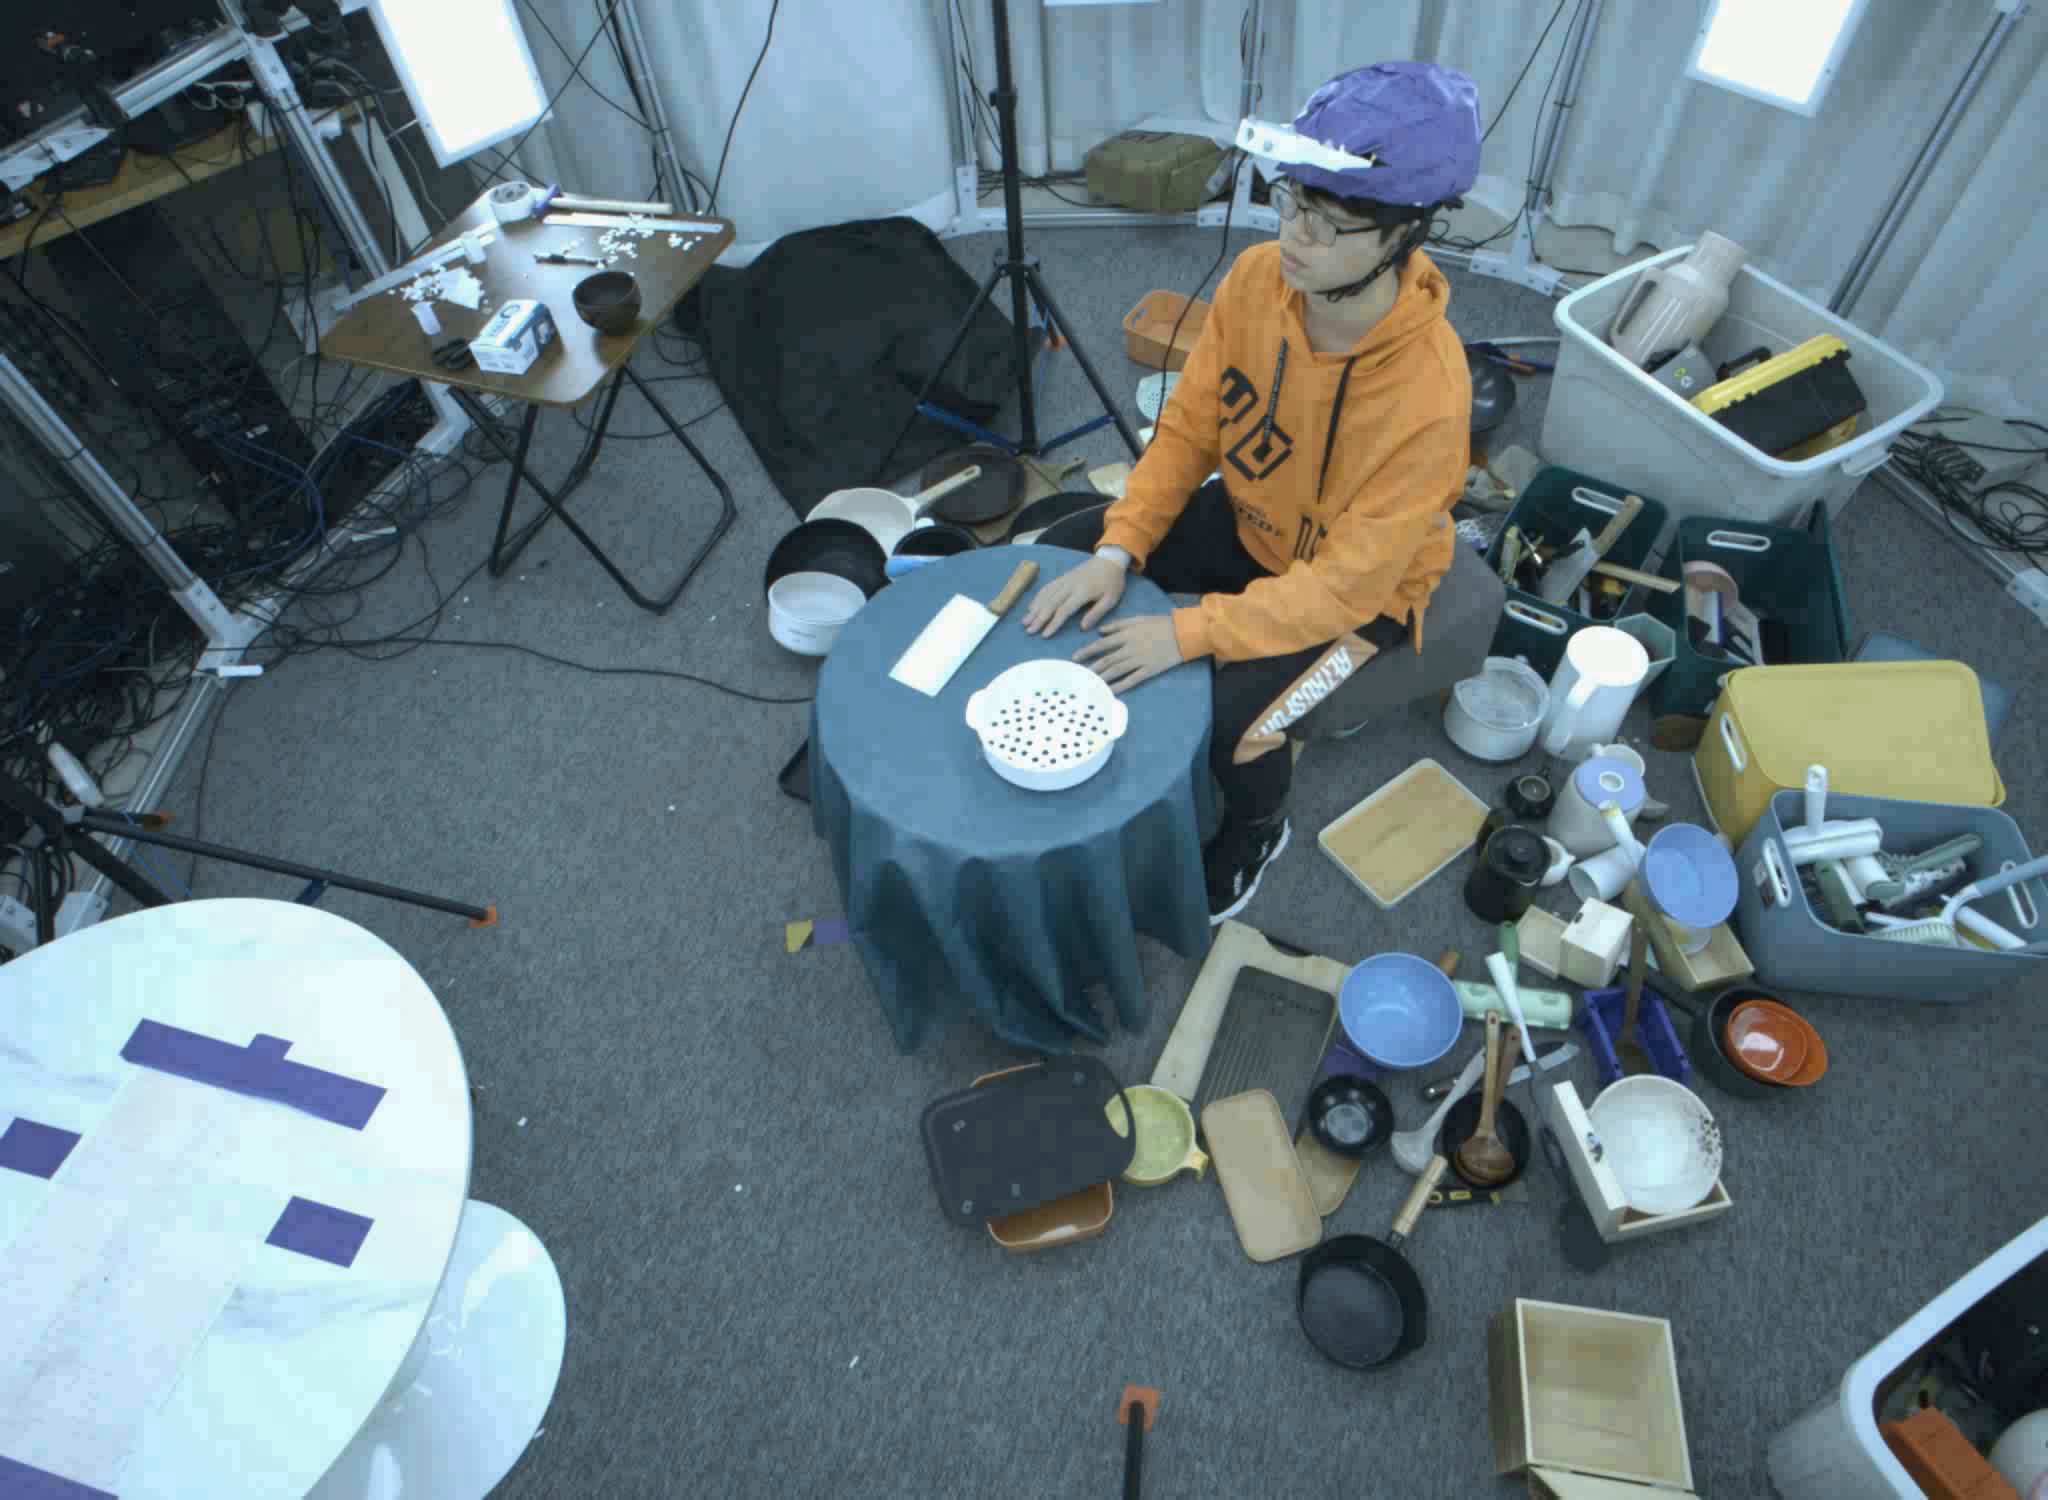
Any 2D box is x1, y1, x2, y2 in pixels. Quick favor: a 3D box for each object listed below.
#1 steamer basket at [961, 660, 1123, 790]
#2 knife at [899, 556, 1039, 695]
[{"bbox_3d":[0.028,-0.034,1.768,0.229,0.070,0.200,4,54,7],"label":"steamer basket"},{"bbox_3d":[-0.090,-0.206,1.927,0.091,0.021,0.307,26,62,21],"label":"knife"}]
